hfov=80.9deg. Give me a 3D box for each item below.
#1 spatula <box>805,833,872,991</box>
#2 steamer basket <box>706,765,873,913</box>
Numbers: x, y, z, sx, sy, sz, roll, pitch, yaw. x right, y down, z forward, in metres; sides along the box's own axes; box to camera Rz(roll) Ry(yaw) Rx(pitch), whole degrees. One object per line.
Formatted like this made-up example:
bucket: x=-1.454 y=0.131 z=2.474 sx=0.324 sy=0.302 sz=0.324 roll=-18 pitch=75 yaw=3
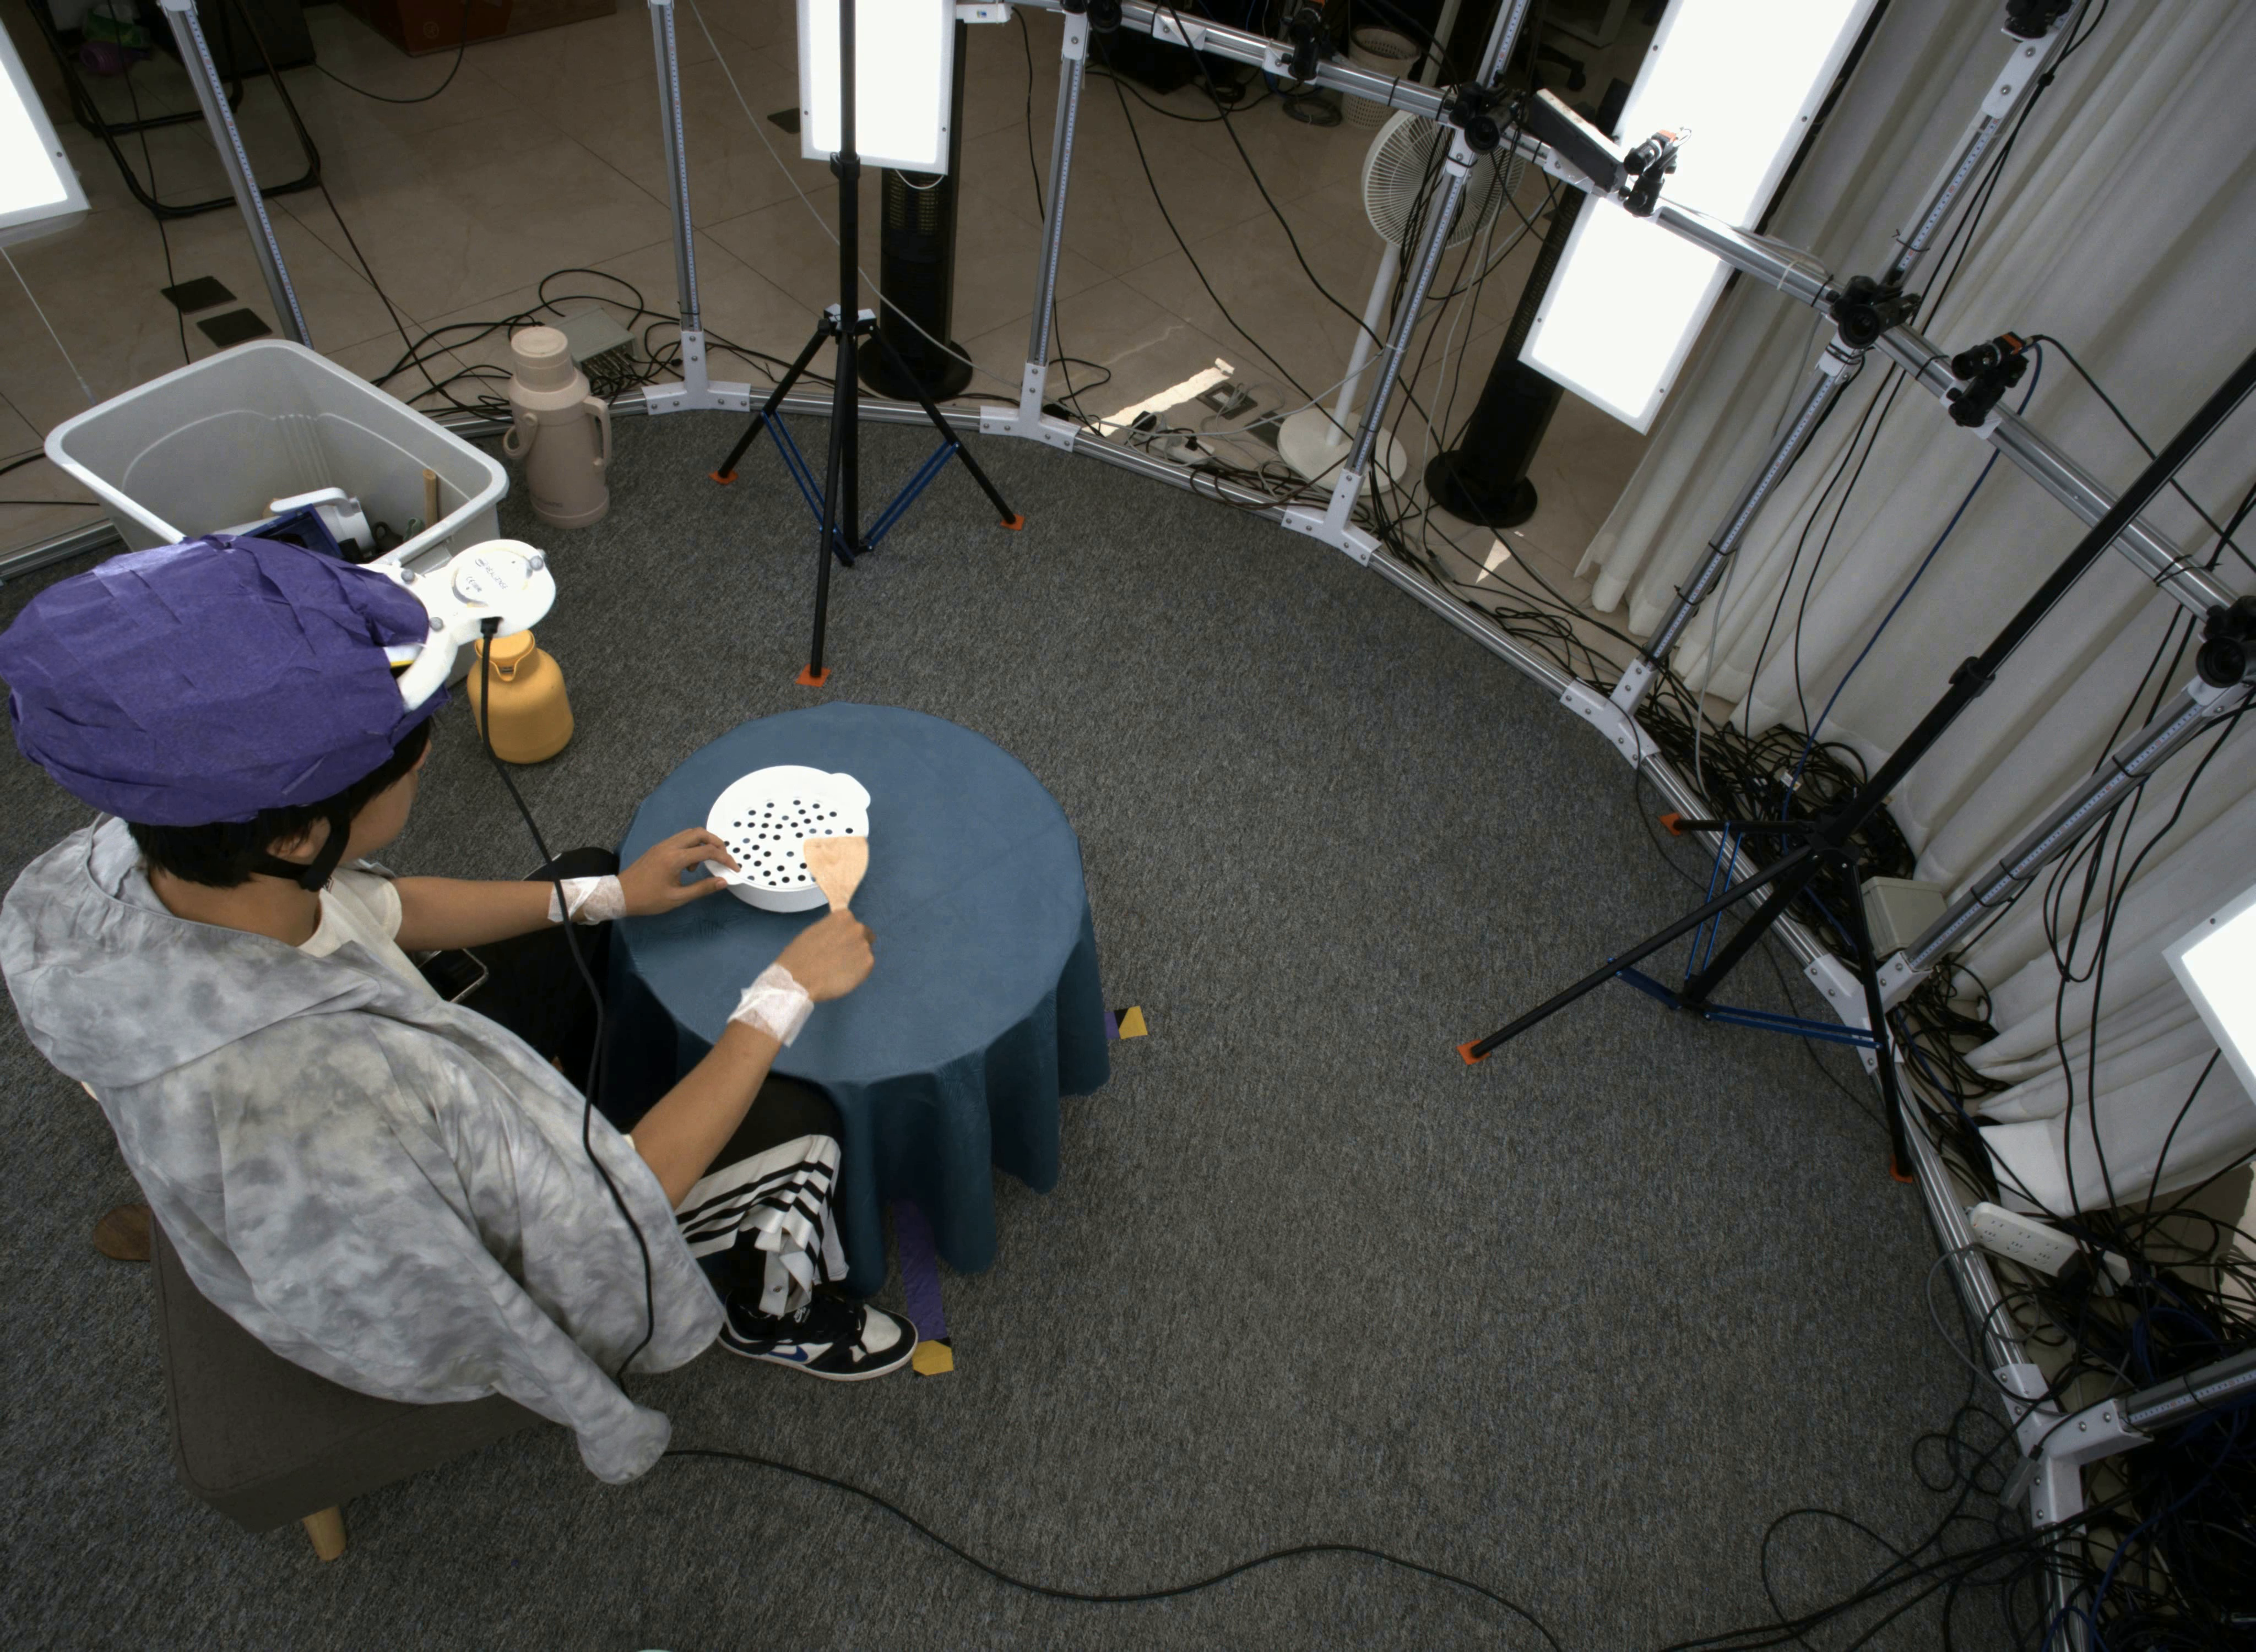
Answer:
spatula: x=-0.323 y=0.087 z=1.461 sx=0.080 sy=0.017 sz=0.318 roll=5 pitch=26 yaw=-16
steamer basket: x=-0.431 y=0.017 z=1.670 sx=0.231 sy=0.071 sz=0.197 roll=-35 pitch=67 yaw=-31
